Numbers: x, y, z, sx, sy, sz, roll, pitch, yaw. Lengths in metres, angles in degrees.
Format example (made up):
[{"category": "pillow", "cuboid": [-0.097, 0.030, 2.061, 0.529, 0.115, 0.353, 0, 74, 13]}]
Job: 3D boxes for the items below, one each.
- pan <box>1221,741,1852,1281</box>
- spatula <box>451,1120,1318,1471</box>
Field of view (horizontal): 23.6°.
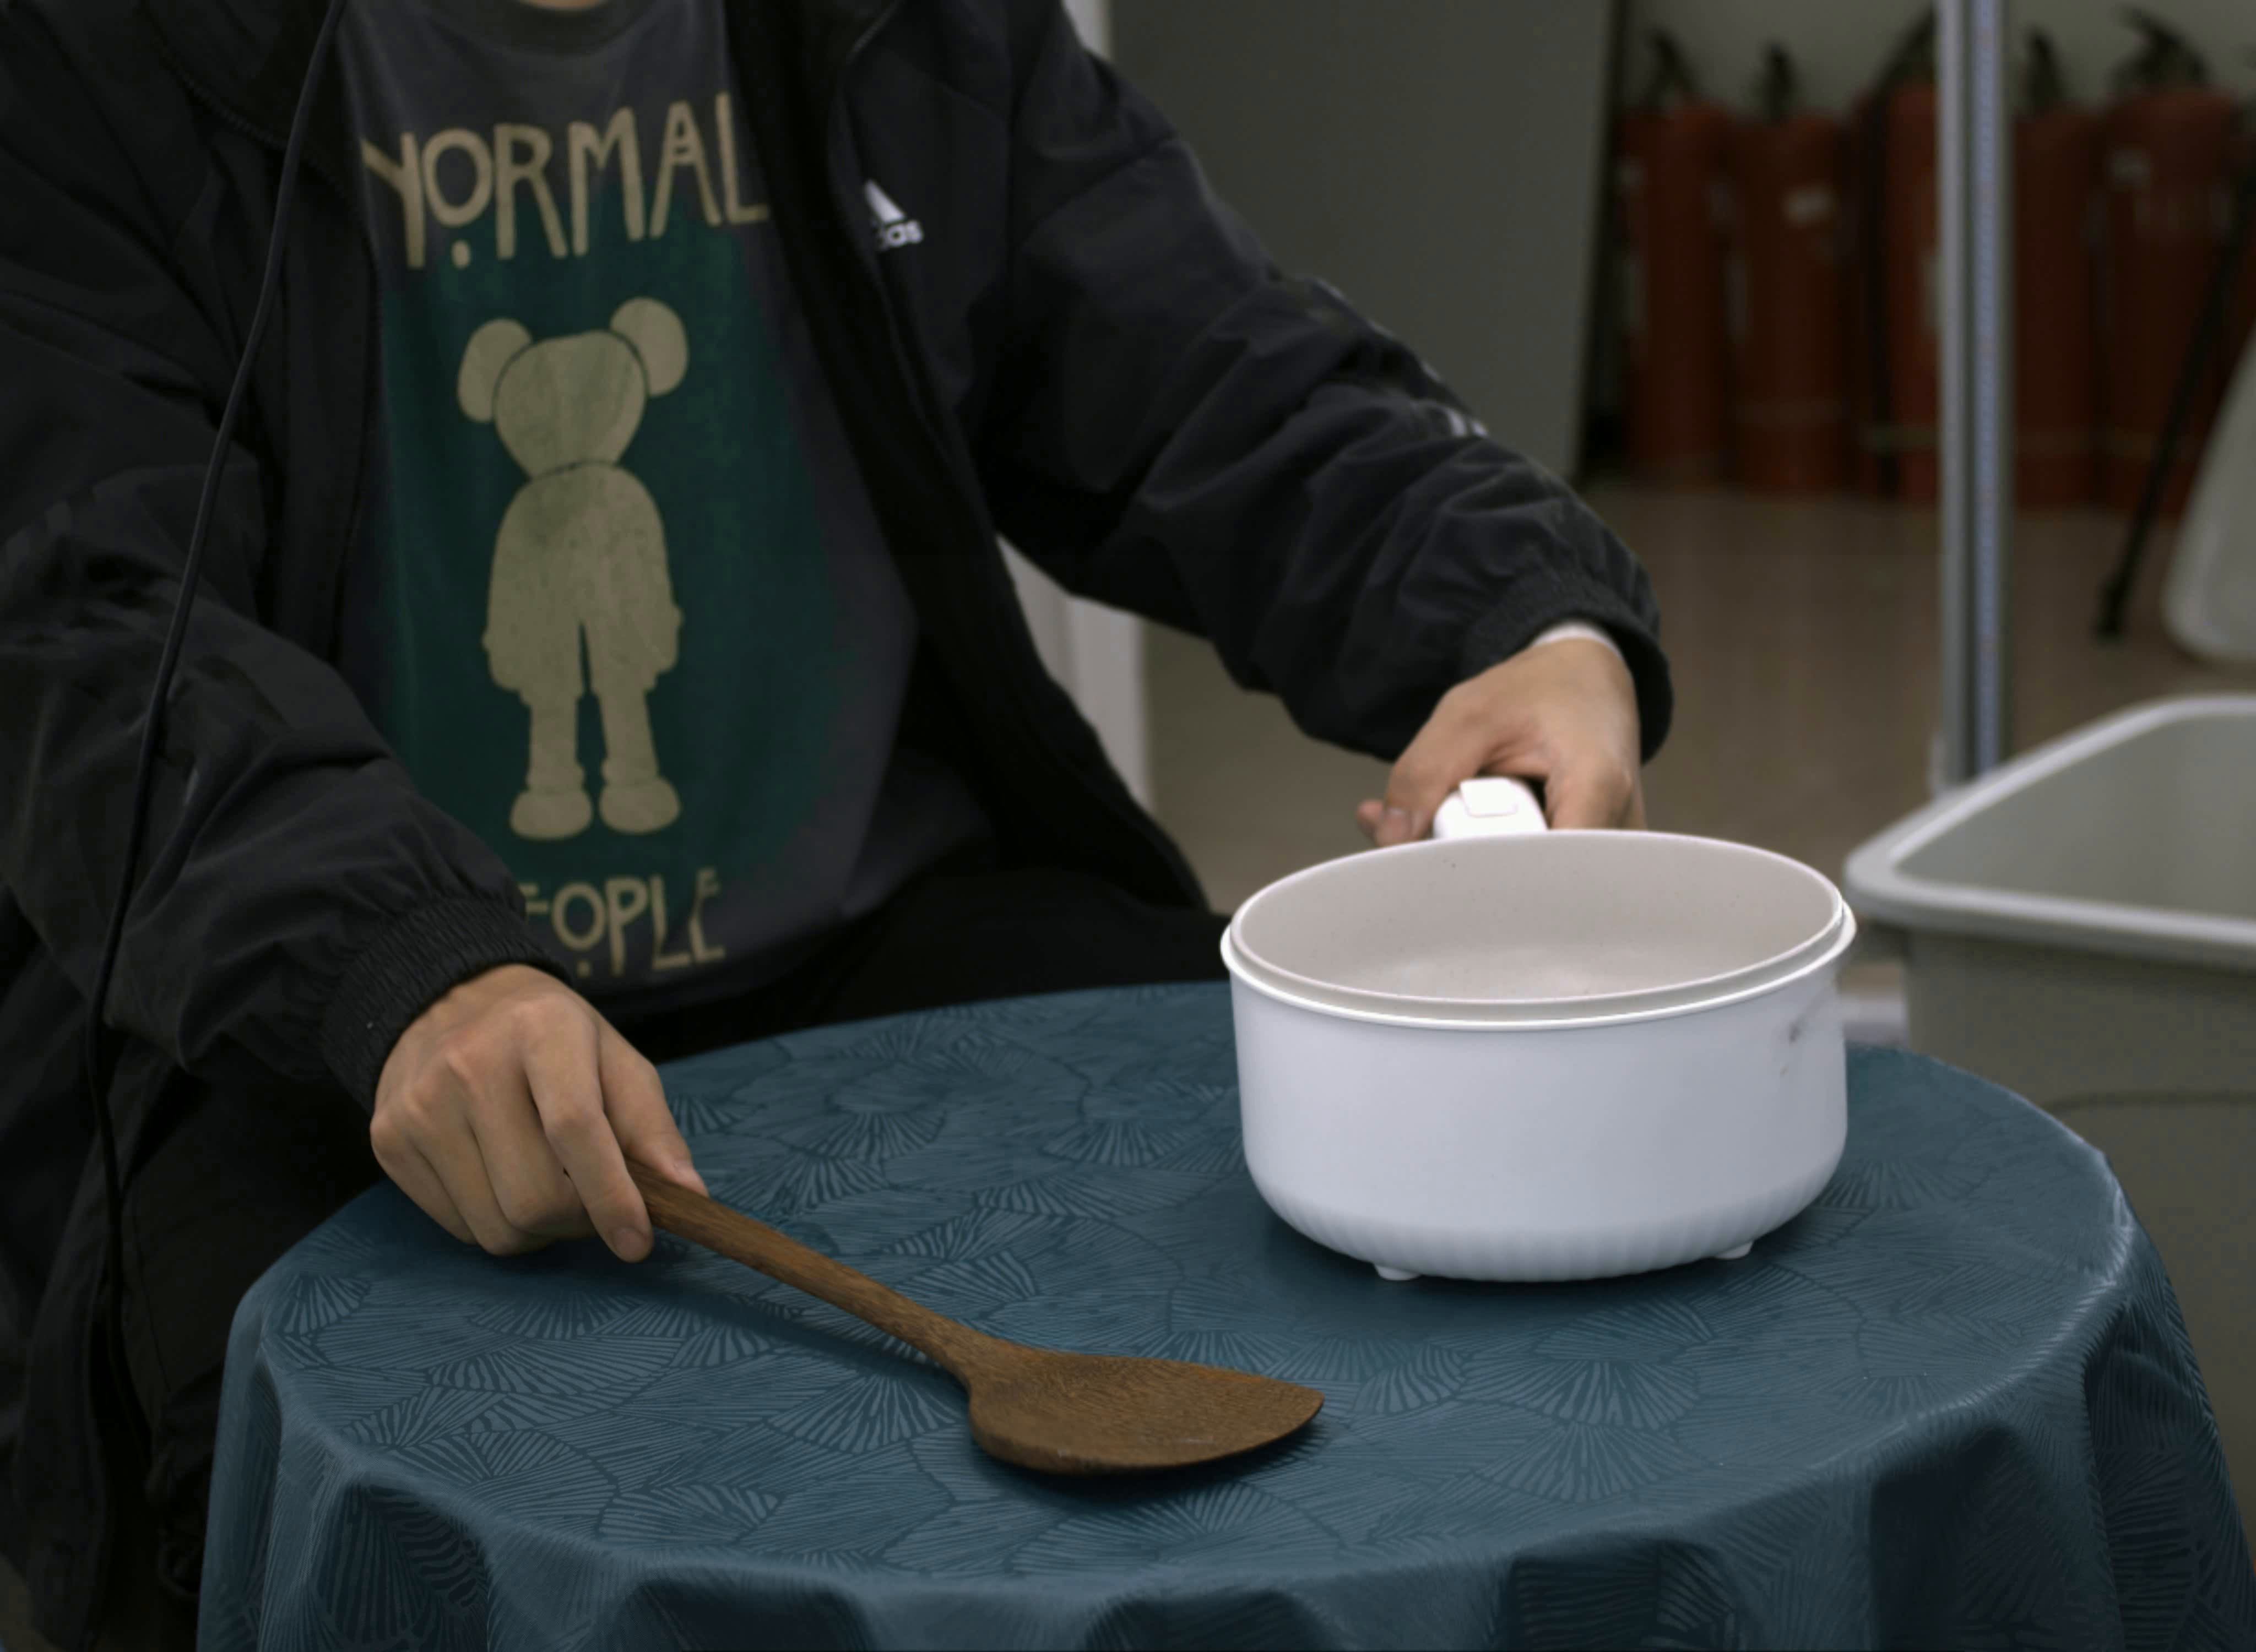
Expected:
[{"category": "pan", "cuboid": [0.130, 0.057, 1.784, 0.198, 0.103, 0.355, -5, 13, 0]}, {"category": "spatula", "cuboid": [-0.095, 0.138, 1.652, 0.094, 0.016, 0.390, -9, 18, -39]}]
